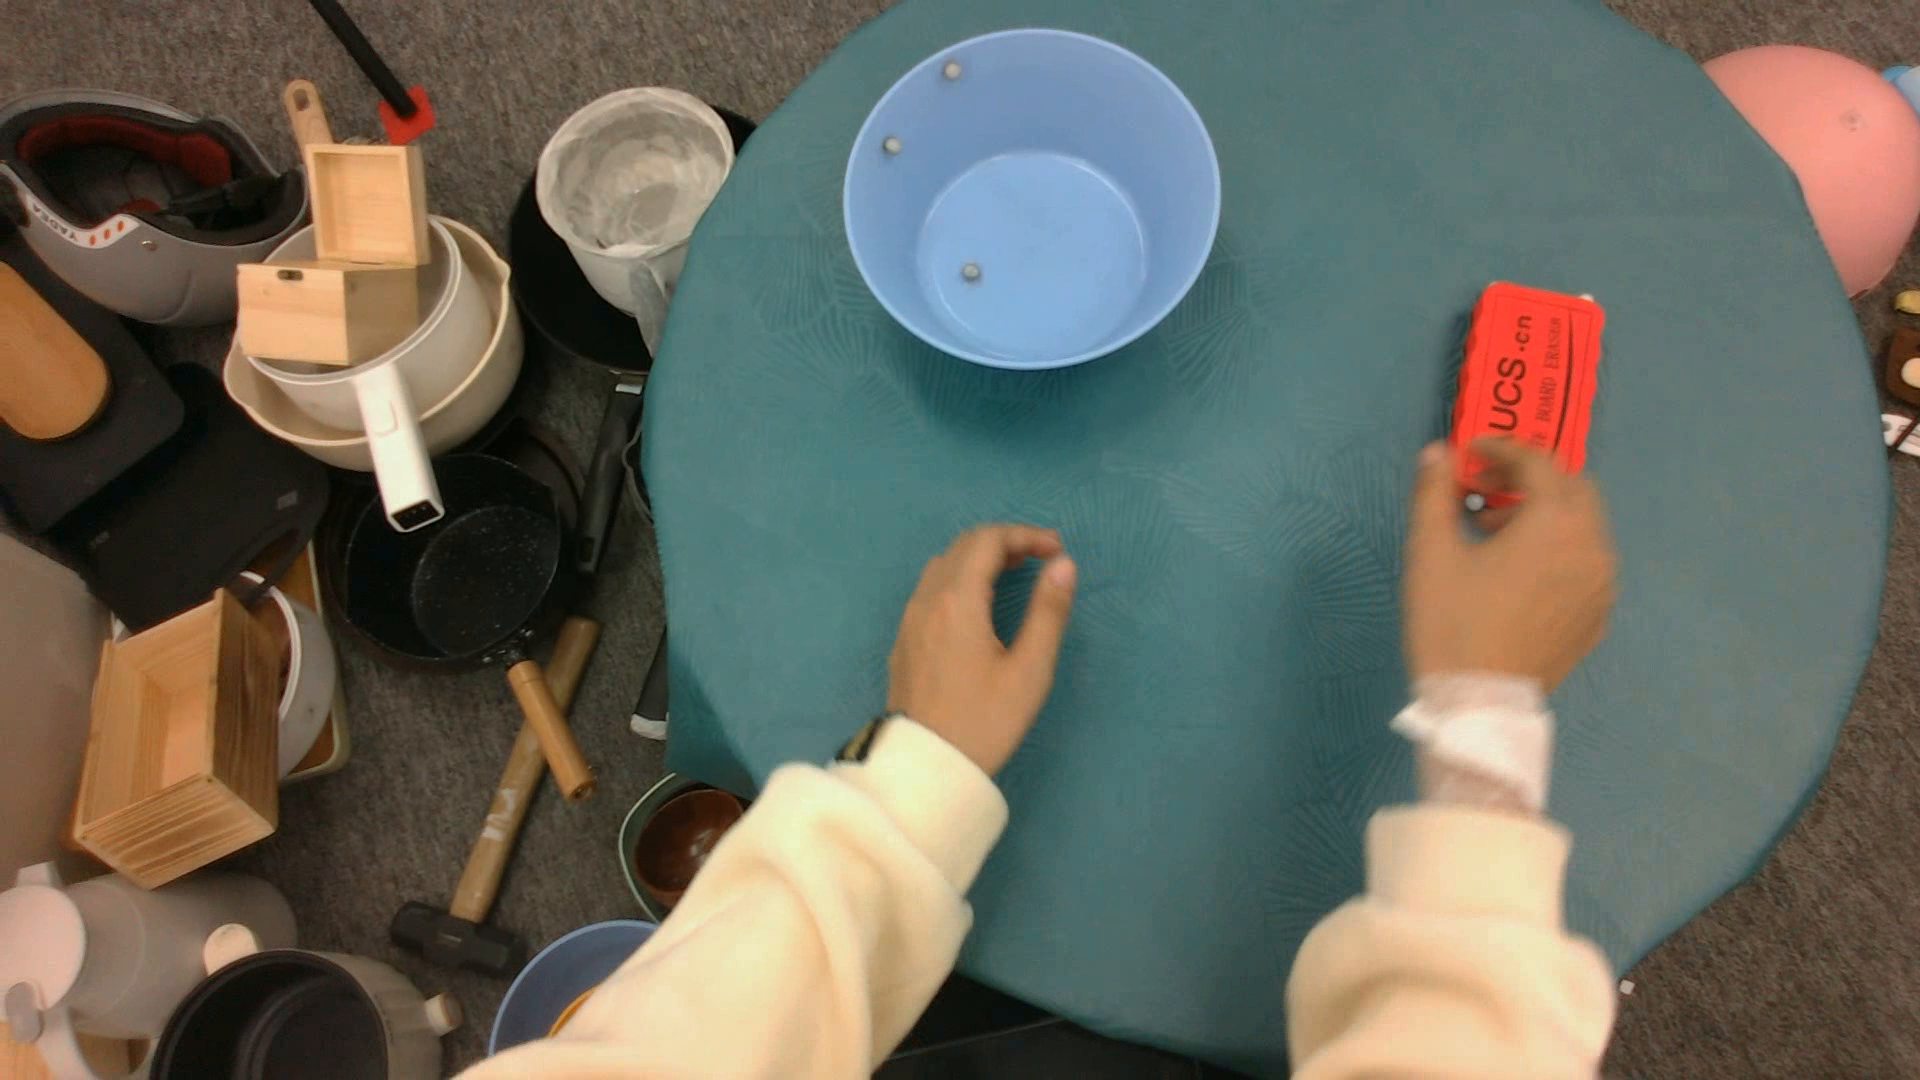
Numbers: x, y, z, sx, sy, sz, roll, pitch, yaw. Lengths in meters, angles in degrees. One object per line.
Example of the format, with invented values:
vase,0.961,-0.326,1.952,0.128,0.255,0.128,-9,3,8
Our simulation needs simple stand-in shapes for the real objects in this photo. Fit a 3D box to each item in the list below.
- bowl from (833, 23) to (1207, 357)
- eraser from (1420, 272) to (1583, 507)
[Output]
bowl,0.029,-0.158,0.672,0.176,0.070,0.176,-1,73,2
eraser,0.260,-0.073,0.661,0.059,0.023,0.108,15,74,5
